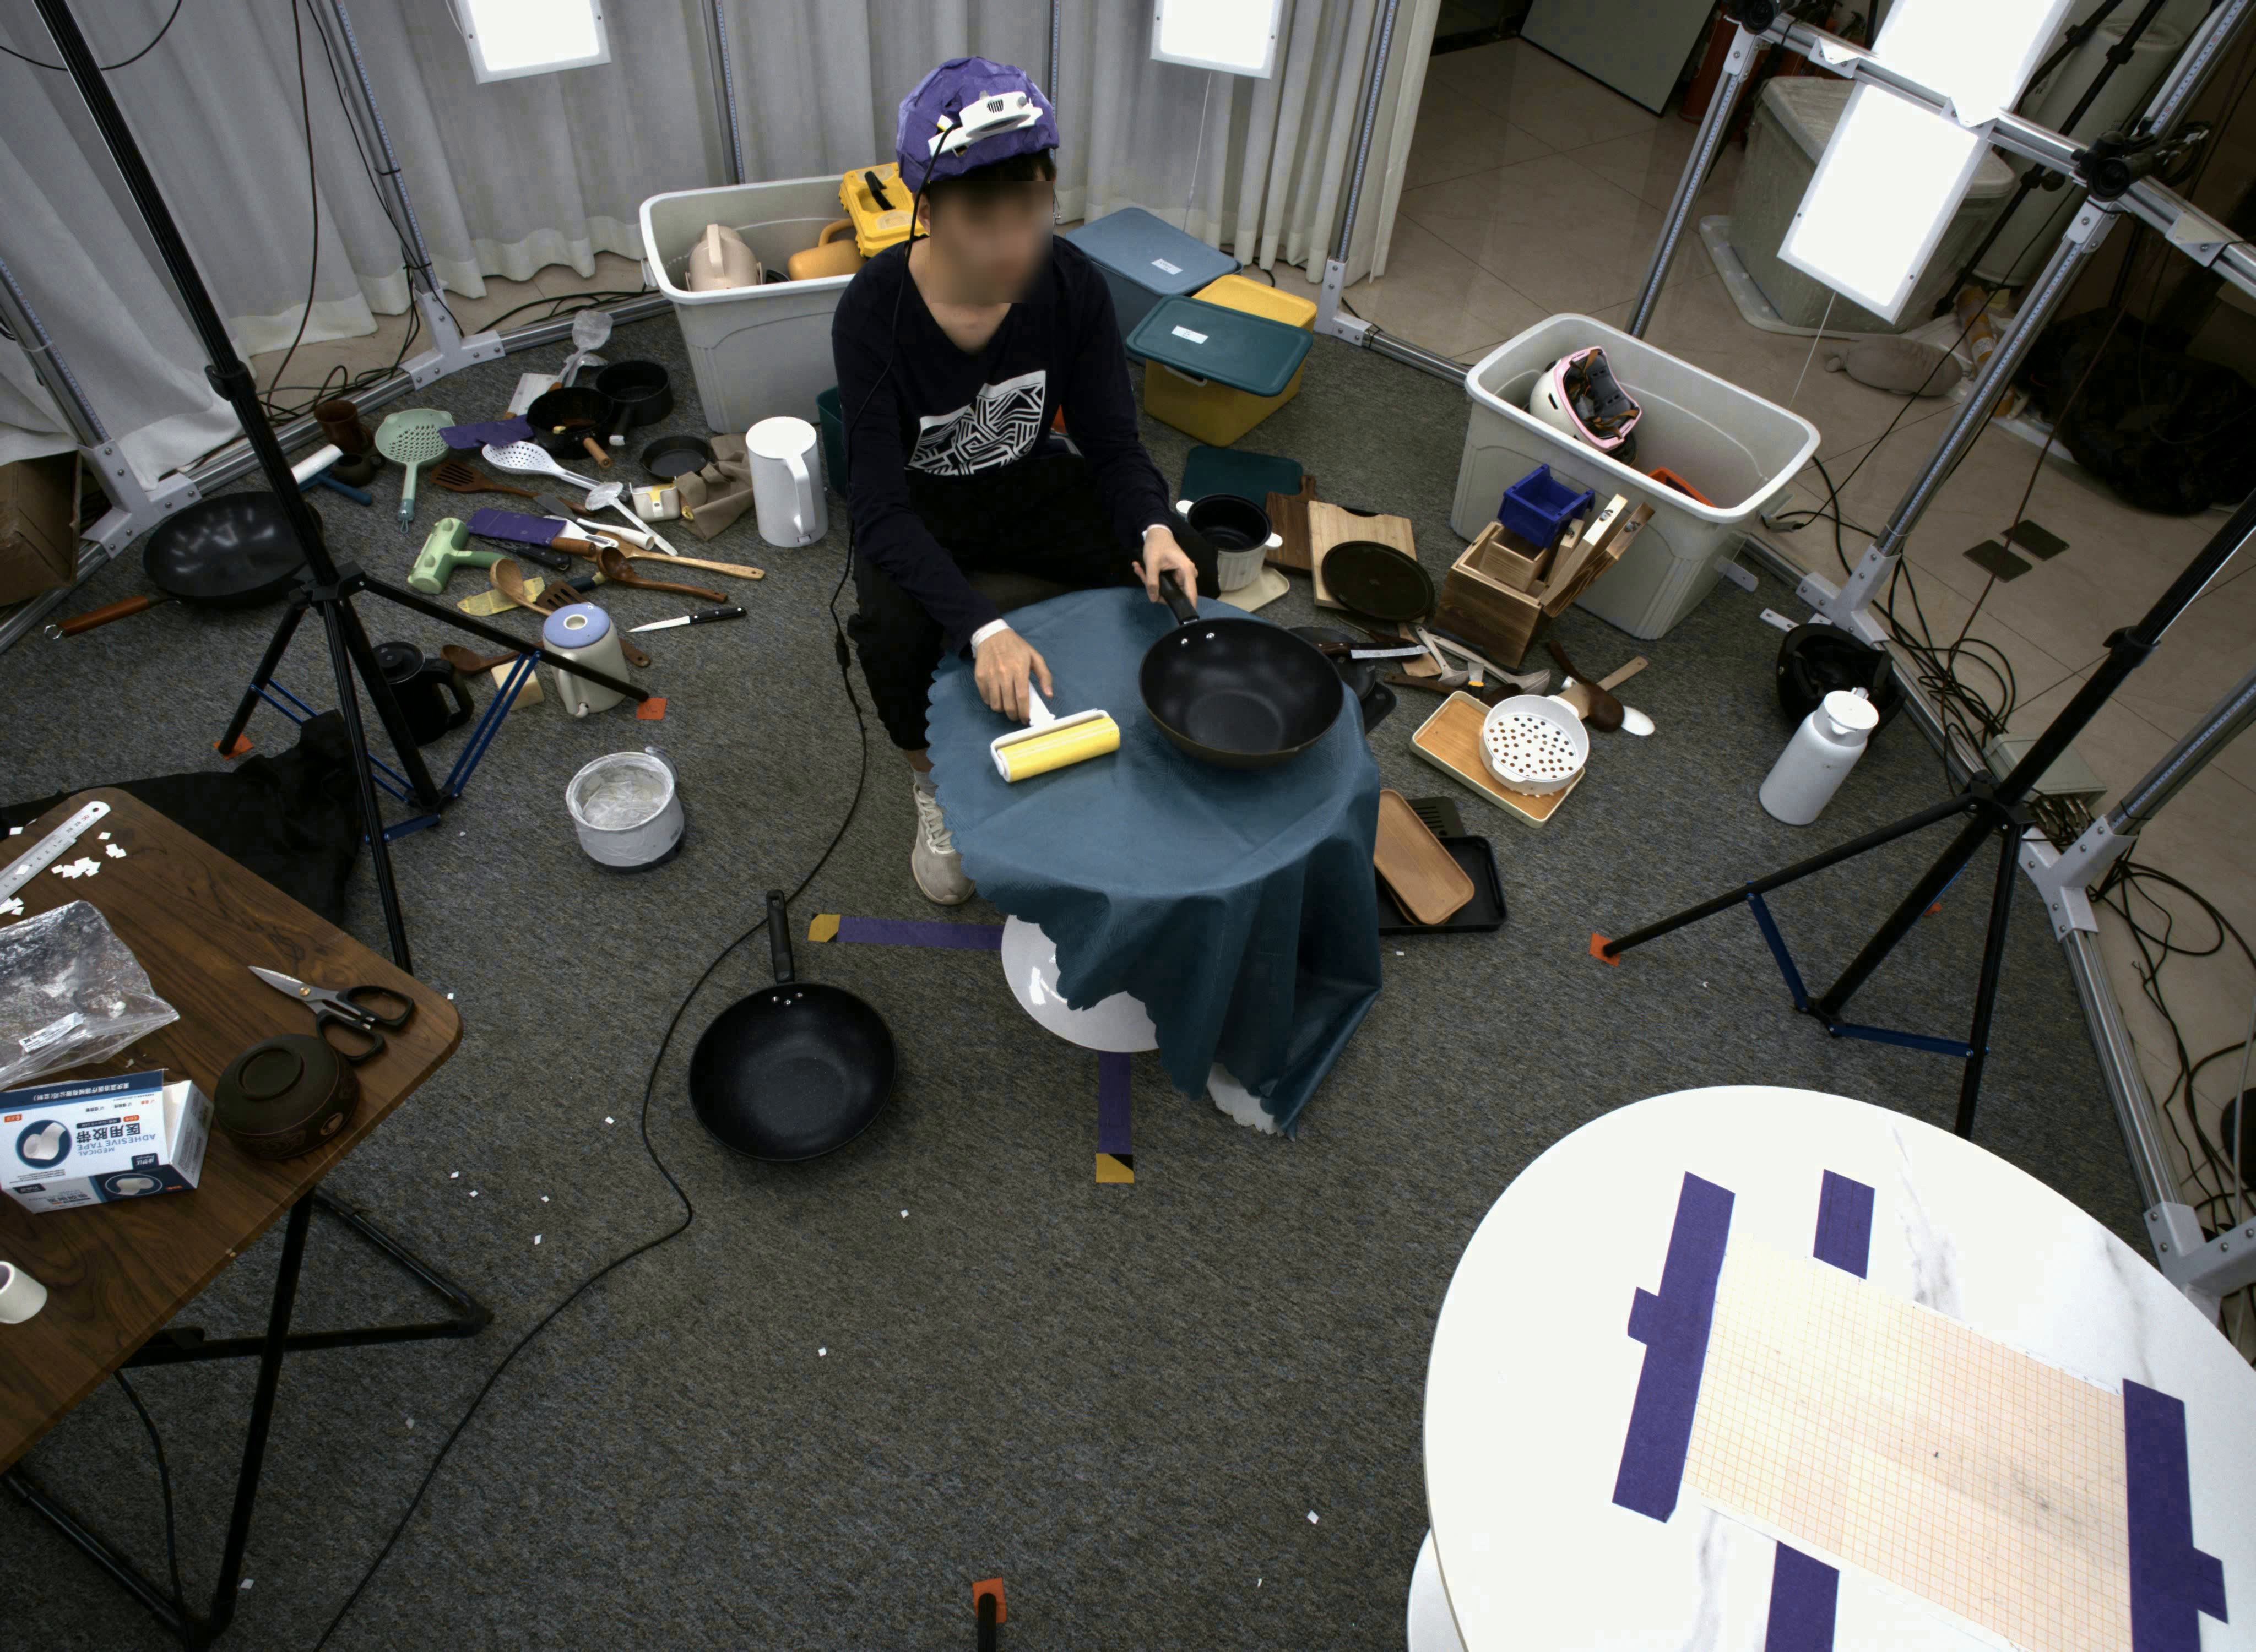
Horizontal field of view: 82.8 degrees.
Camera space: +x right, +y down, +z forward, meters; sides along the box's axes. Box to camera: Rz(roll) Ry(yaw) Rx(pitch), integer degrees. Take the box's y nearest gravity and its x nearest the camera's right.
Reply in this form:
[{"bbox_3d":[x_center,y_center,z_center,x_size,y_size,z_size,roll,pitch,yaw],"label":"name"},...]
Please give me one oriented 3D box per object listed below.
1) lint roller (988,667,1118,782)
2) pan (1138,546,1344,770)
[{"bbox_3d":[-0.127,-0.158,1.753,0.174,0.050,0.196,-18,60,-19],"label":"lint roller"},{"bbox_3d":[0.111,-0.233,1.823,0.288,0.085,0.474,-16,51,-20],"label":"pan"}]
